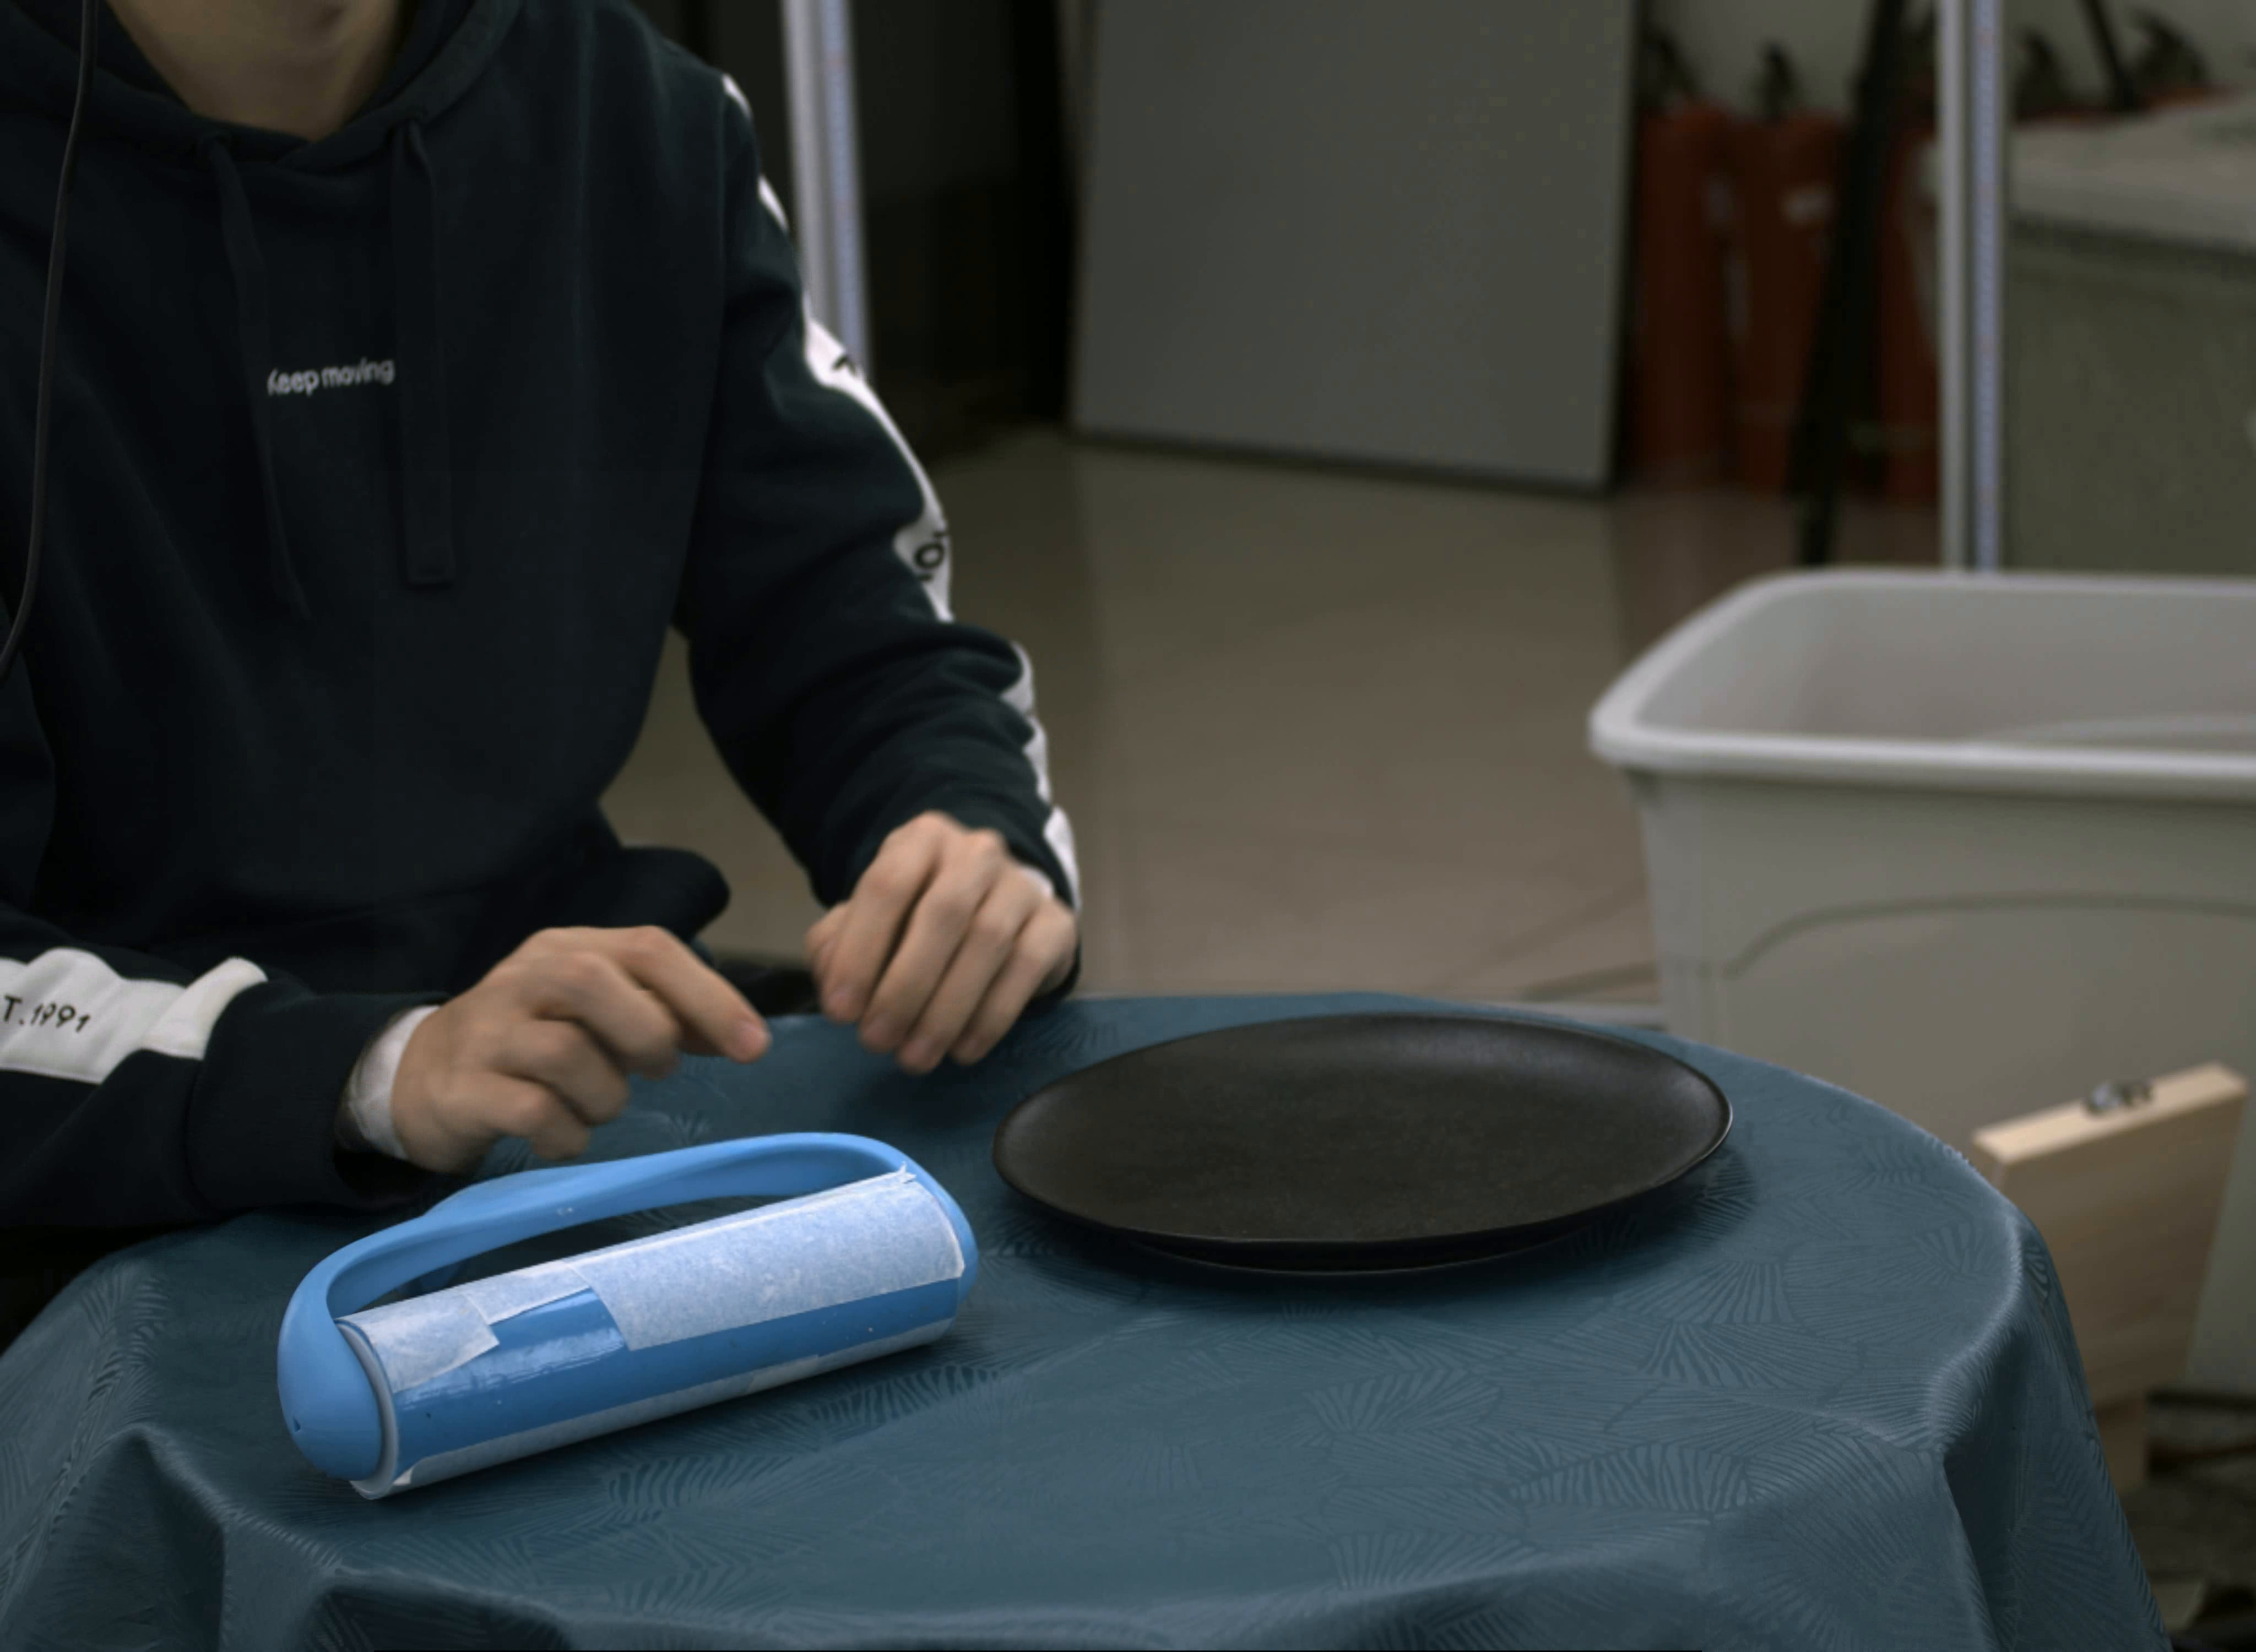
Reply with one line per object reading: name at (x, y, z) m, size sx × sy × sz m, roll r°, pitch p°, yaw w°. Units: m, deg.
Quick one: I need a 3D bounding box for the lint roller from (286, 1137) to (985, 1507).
lint roller at (-0.175, 0.139, 1.635) m, size 0.224 × 0.068 × 0.182 m, roll -15°, pitch 18°, yaw -34°

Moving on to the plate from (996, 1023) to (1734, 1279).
plate at (0.077, 0.108, 1.756) m, size 0.241 × 0.024 × 0.245 m, roll -4°, pitch 14°, yaw 0°
